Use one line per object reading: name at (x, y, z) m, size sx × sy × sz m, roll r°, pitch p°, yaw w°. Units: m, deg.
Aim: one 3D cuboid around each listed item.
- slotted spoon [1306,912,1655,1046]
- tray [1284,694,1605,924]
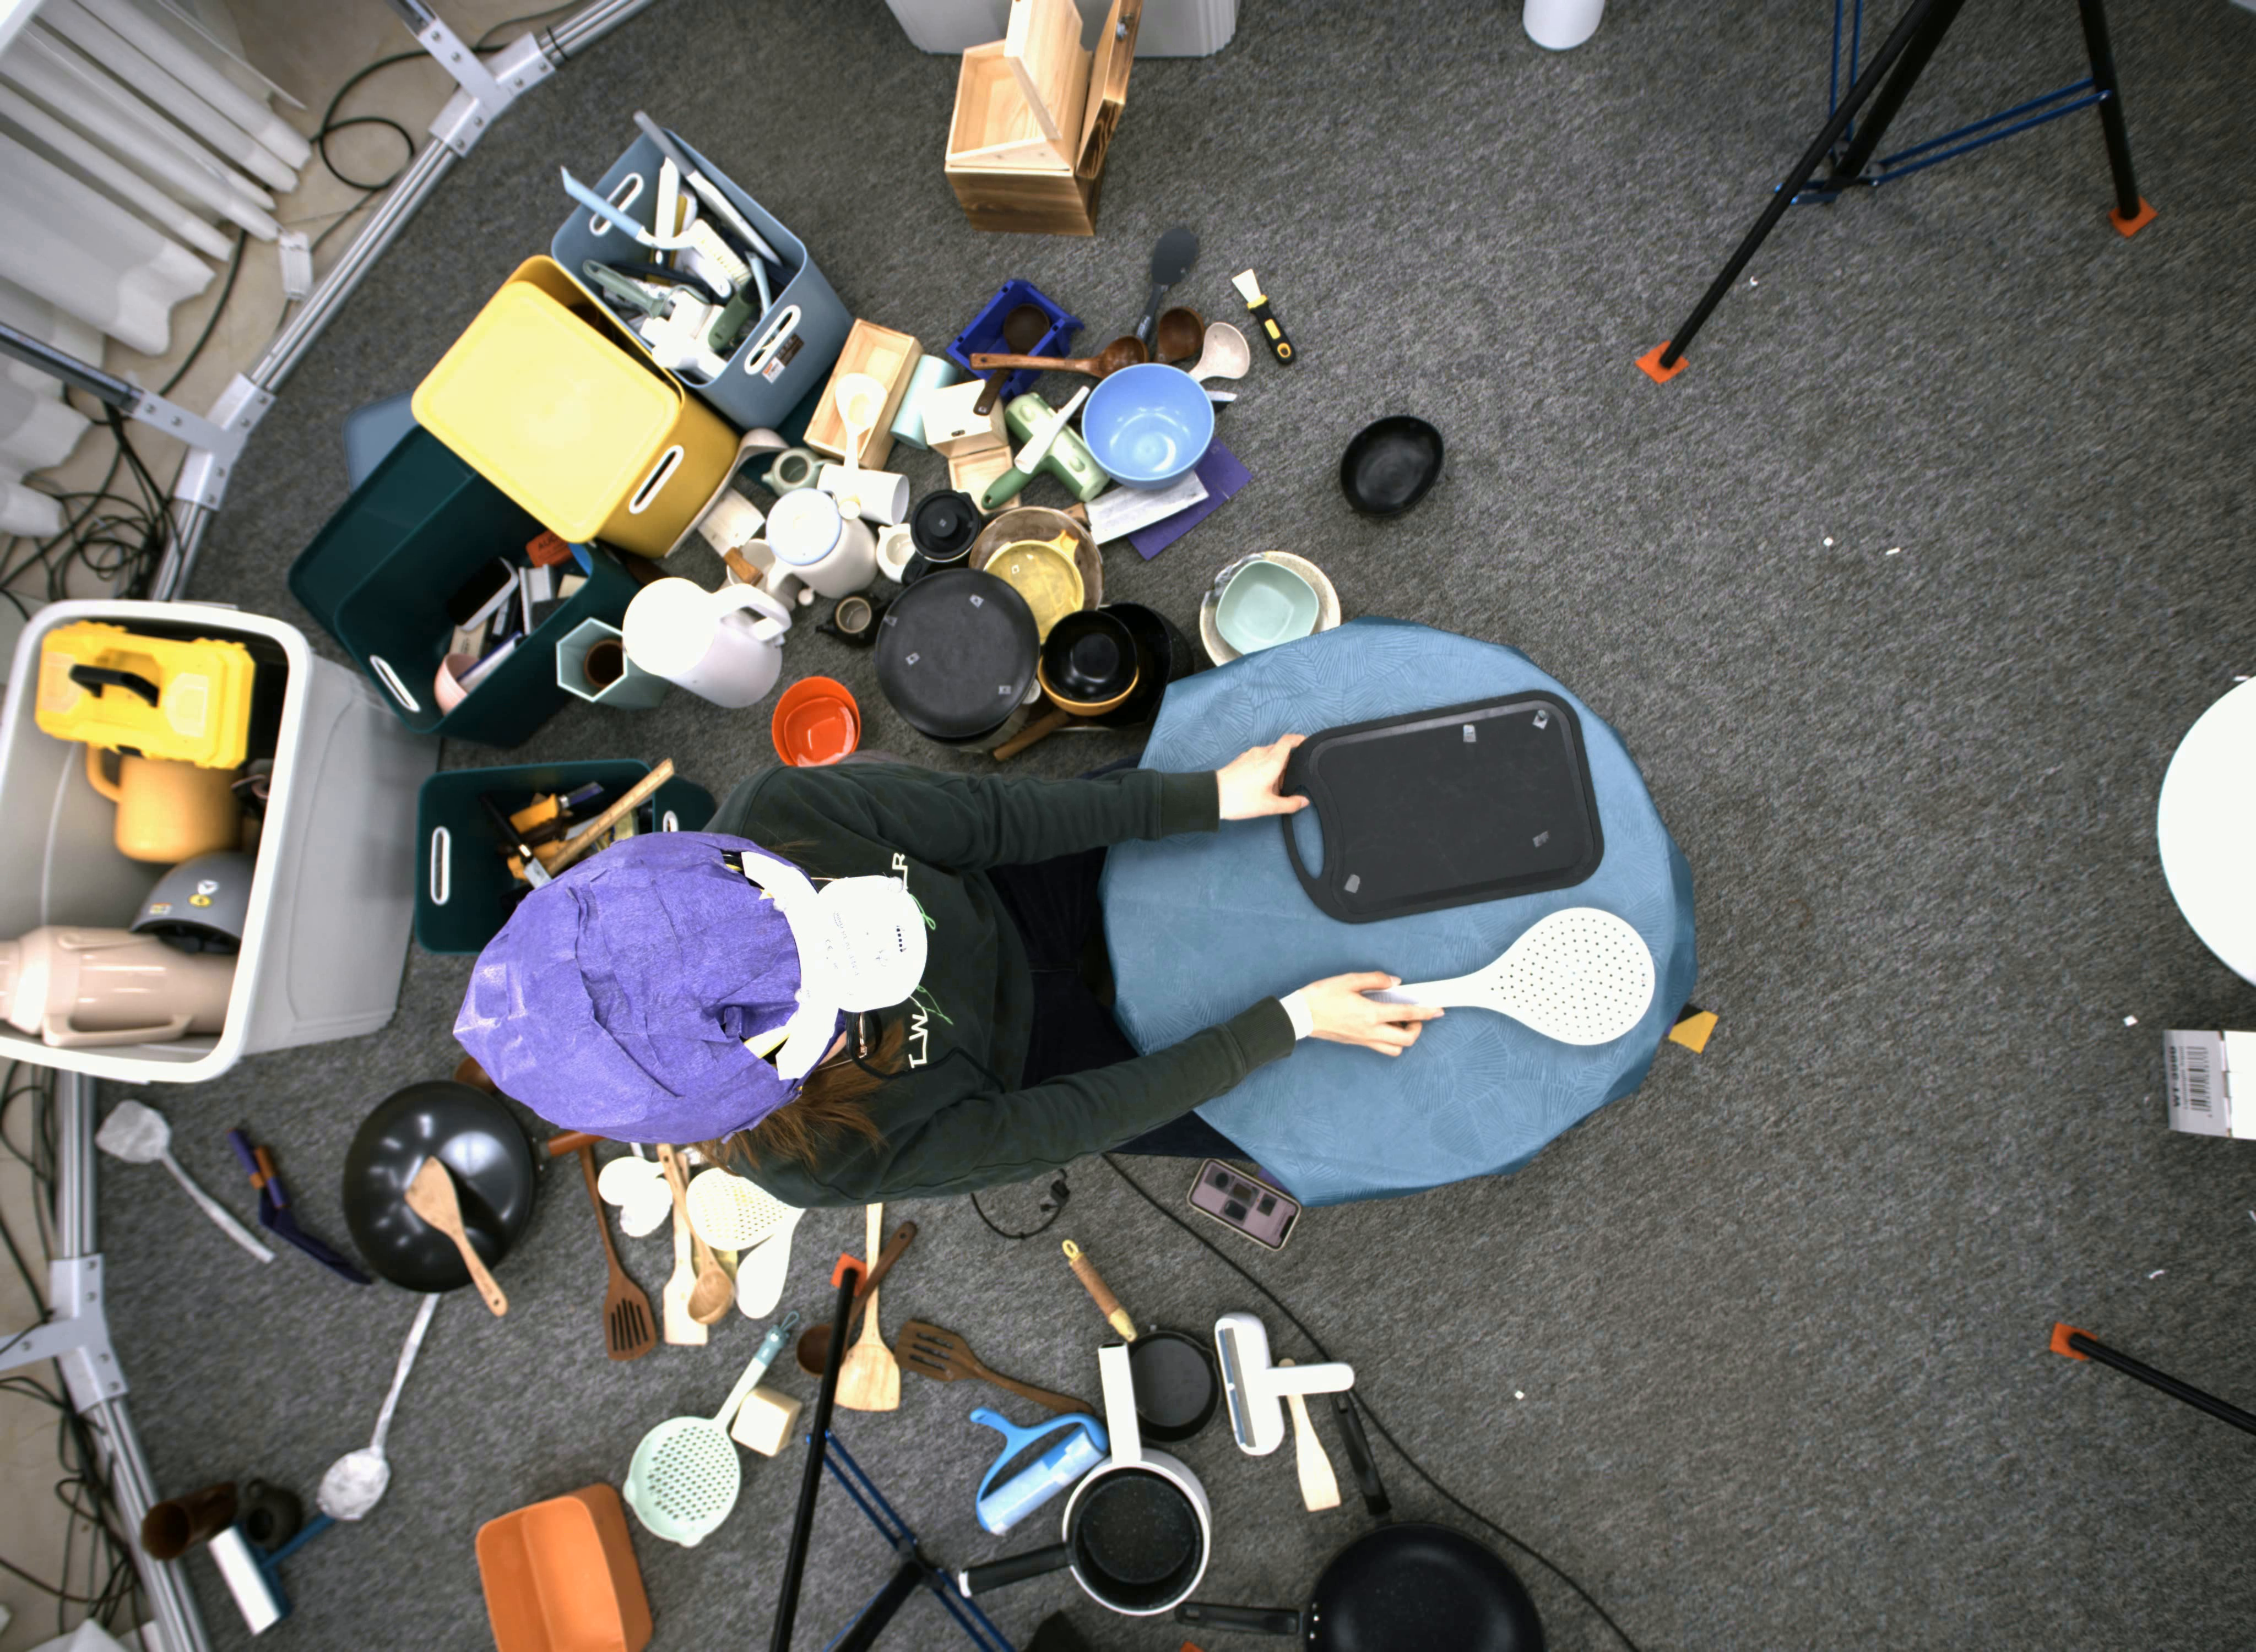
slotted spoon at (0.358, 0.169, 1.418) m, size 0.351 × 0.046 × 0.134 m, roll -8°, pitch 75°, yaw 11°
tray at (0.328, -0.017, 1.450) m, size 0.327 × 0.010 × 0.210 m, roll -10°, pitch 87°, yaw 8°
